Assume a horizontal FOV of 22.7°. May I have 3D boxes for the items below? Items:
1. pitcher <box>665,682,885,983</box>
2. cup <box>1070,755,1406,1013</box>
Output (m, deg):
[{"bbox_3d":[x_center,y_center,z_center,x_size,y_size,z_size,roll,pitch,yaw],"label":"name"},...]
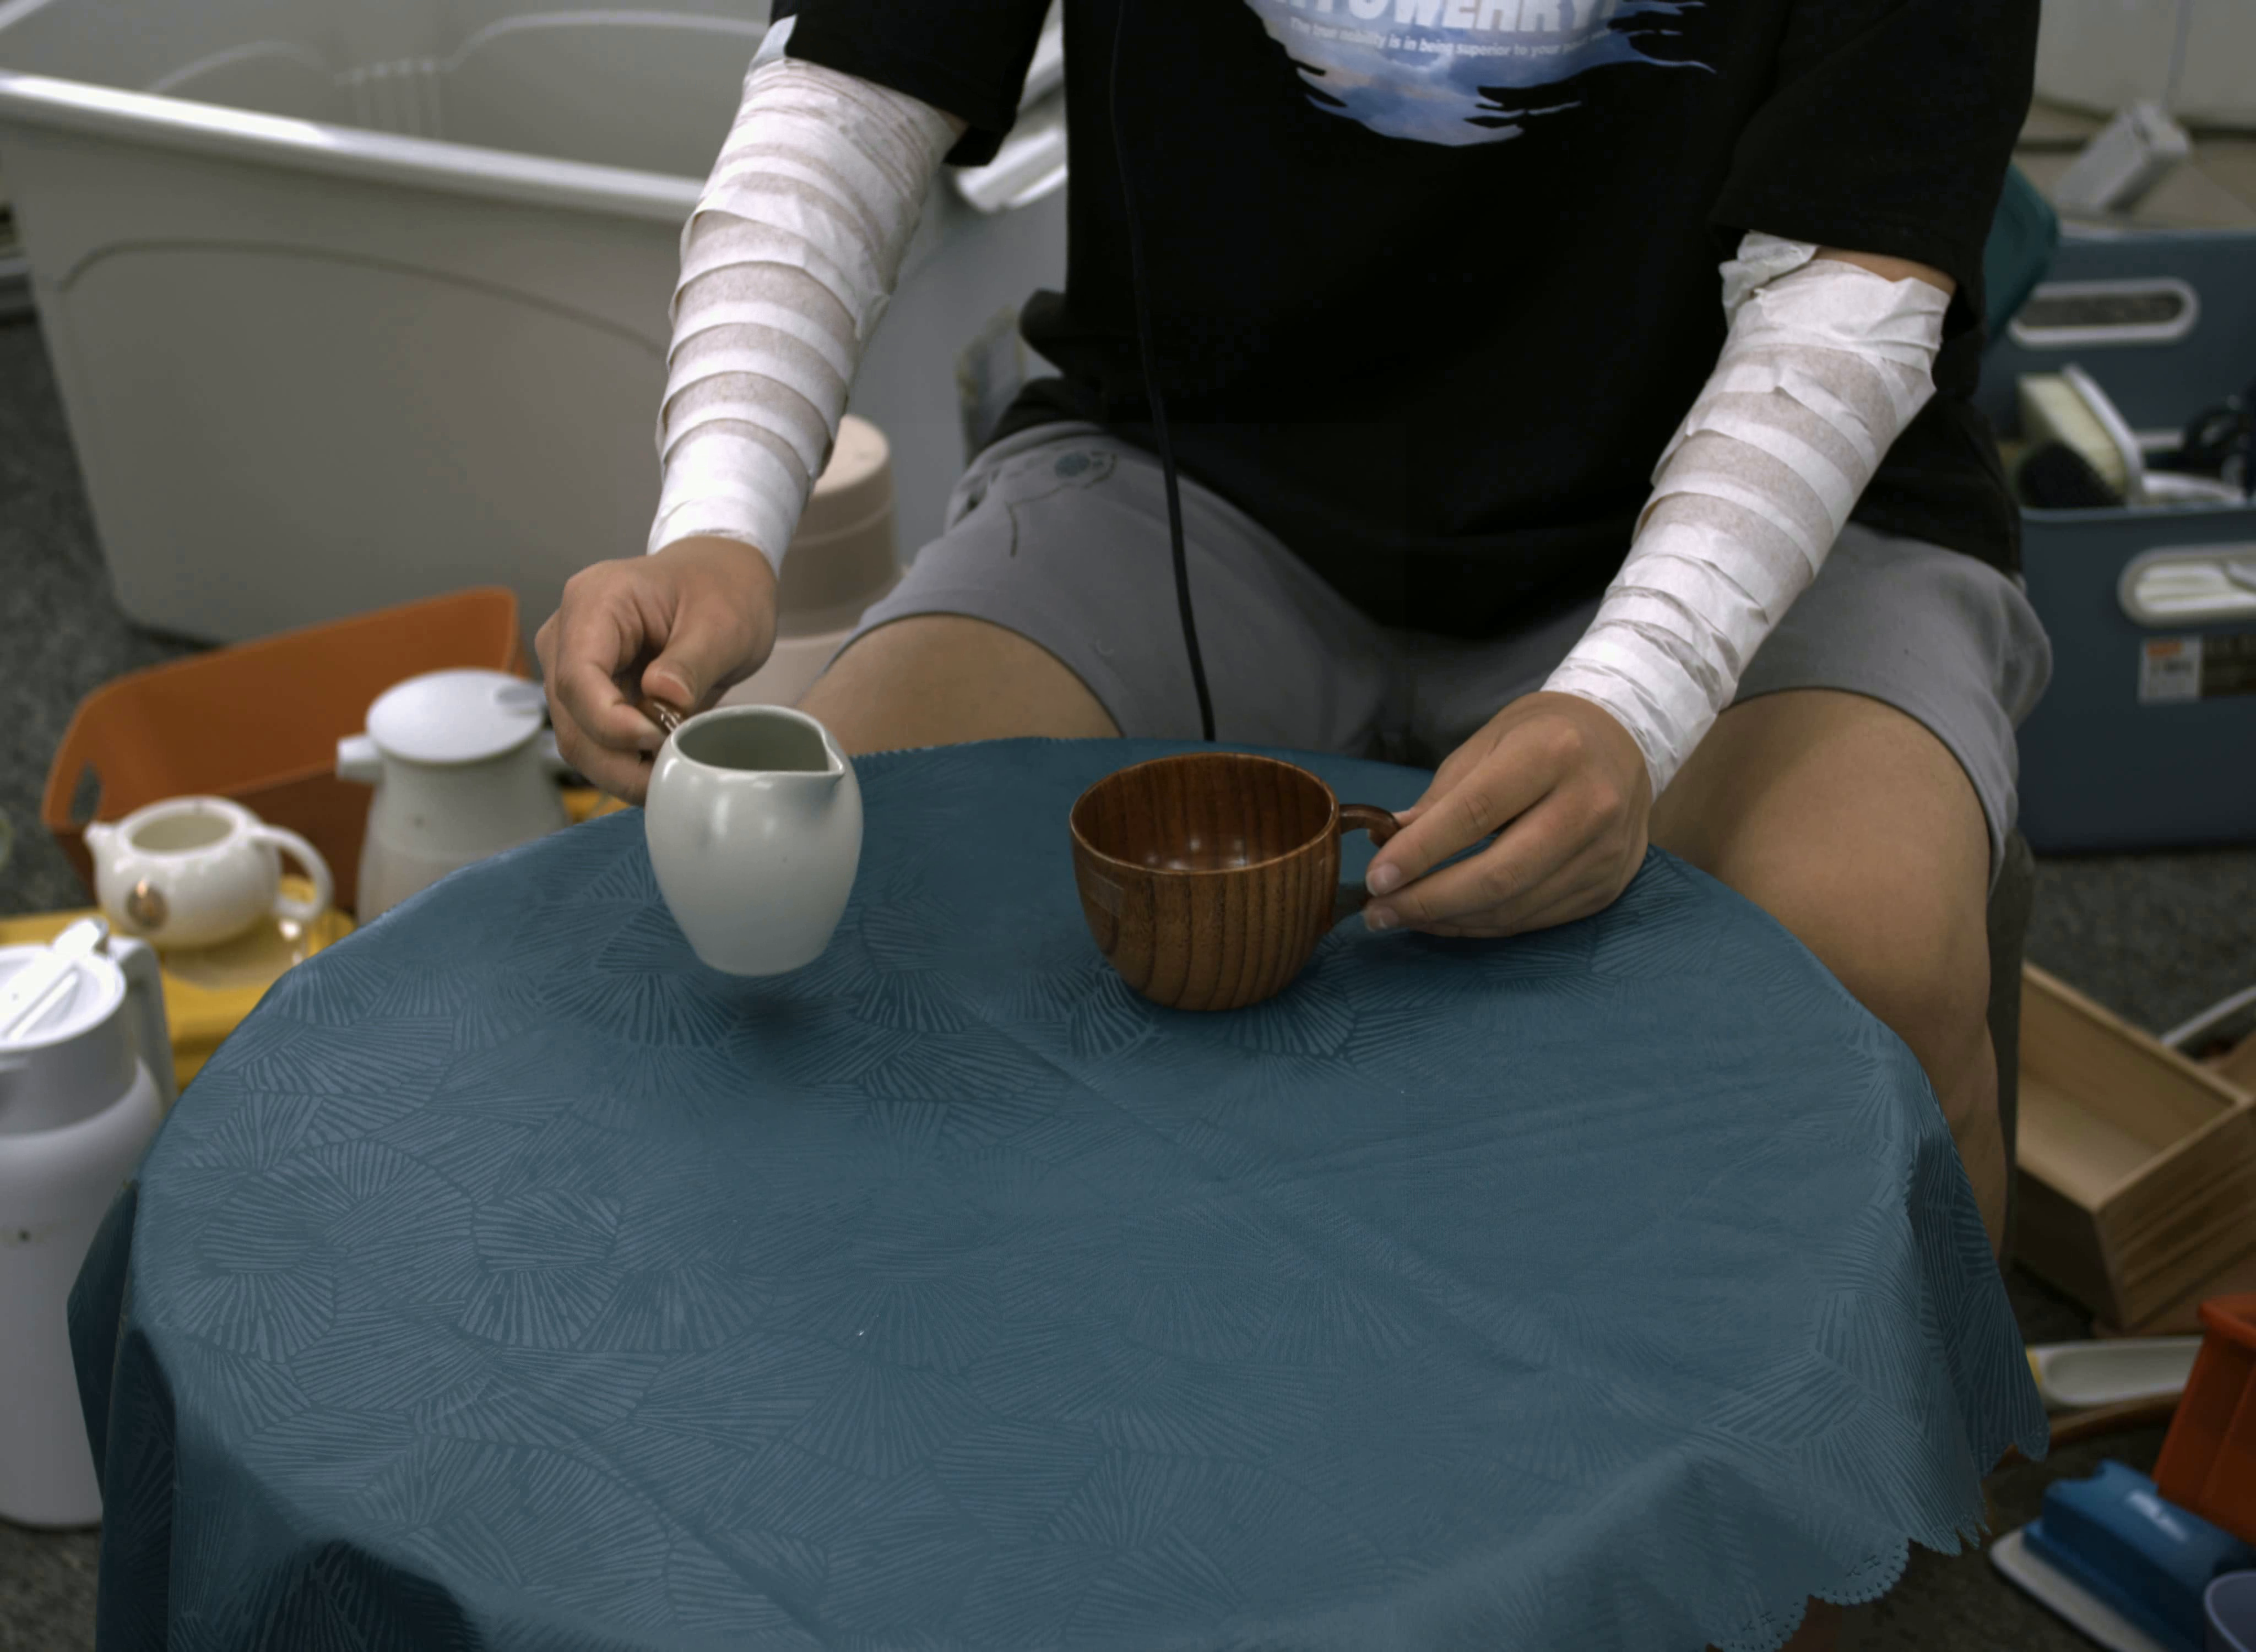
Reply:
[{"bbox_3d":[-0.127,0.002,1.949,0.076,0.087,0.119,-14,34,-35],"label":"pitcher"},{"bbox_3d":[0.040,0.023,1.980,0.119,0.067,0.097,-4,23,-6],"label":"cup"}]
